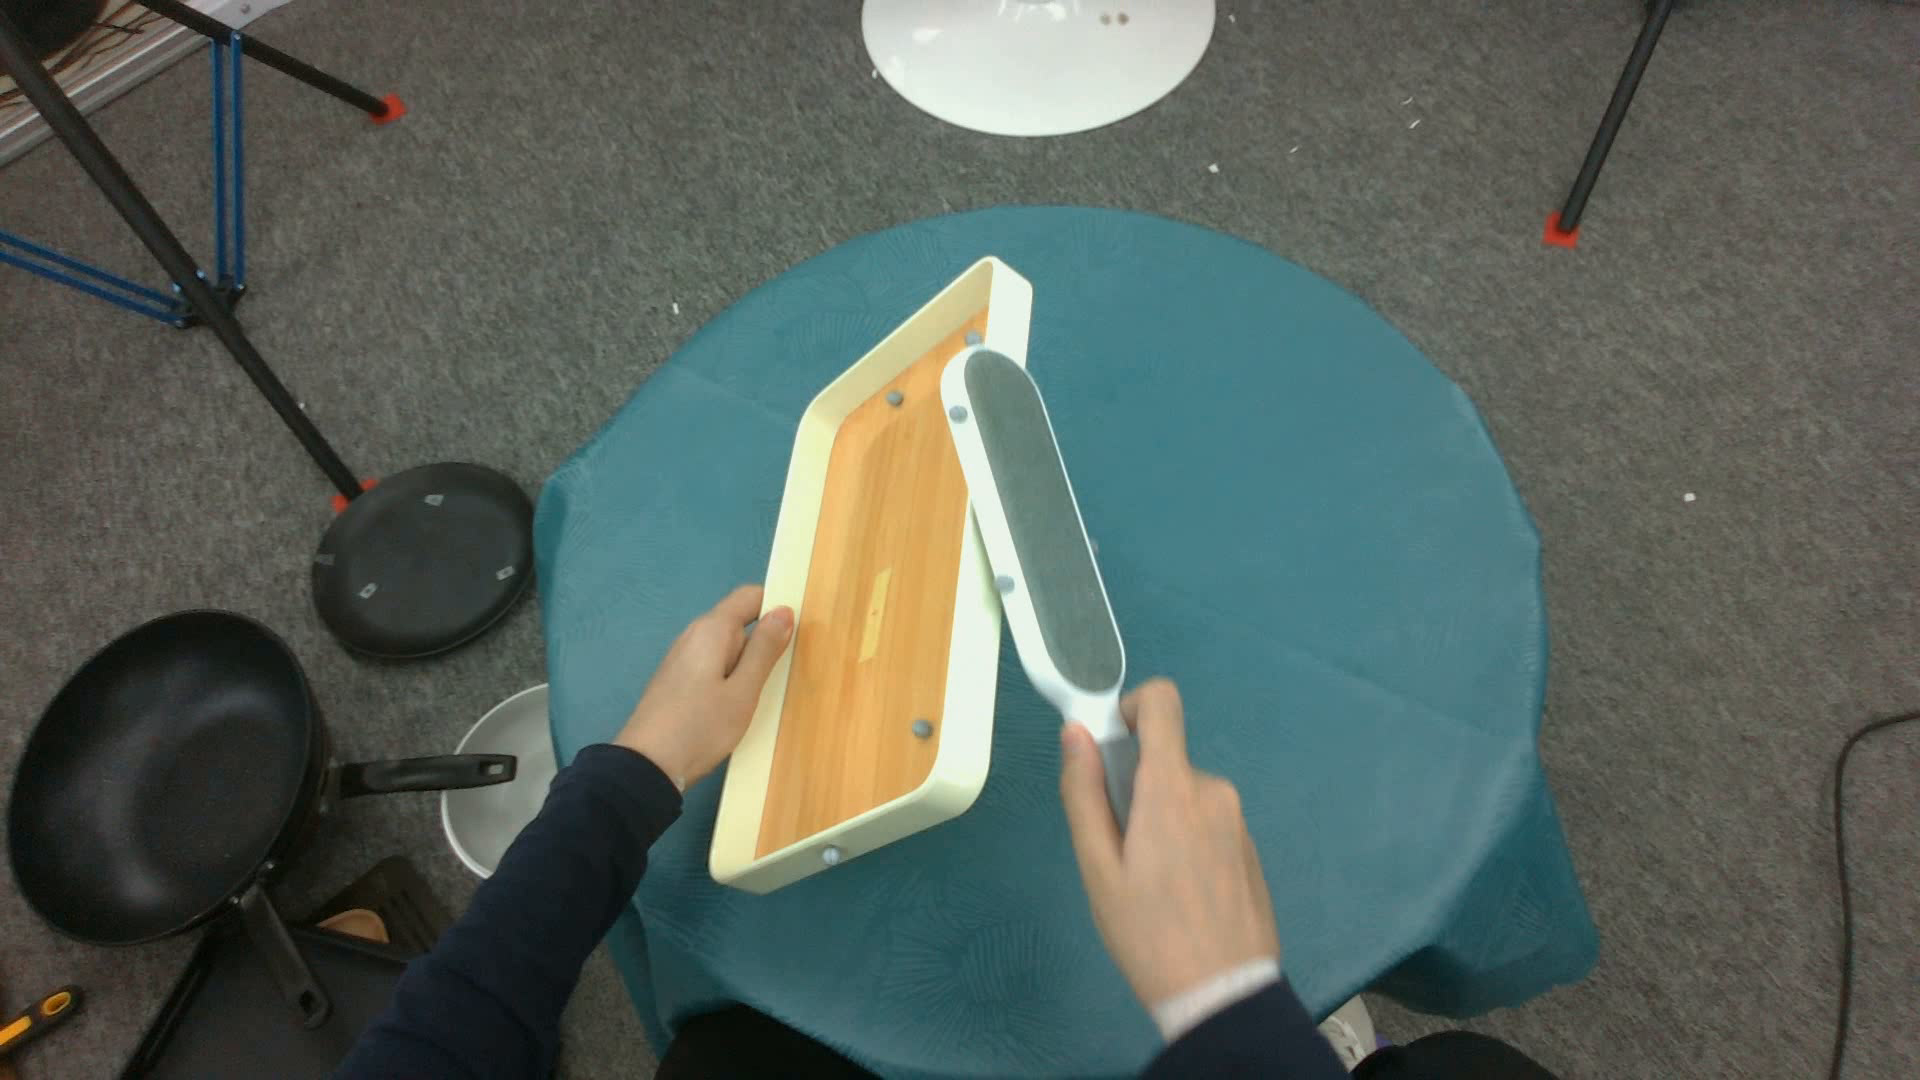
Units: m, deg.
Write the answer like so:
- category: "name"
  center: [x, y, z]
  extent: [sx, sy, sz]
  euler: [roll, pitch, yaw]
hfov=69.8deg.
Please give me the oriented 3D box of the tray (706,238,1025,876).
- category: "tray"
  center: [-0.045, 0.005, 0.690]
  extent: [0.027, 0.190, 0.301]
  euler: [27, 53, -30]

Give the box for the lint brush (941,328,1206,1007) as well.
- category: "lint brush"
  center: [0.048, 0.045, 0.597]
  extent: [0.021, 0.060, 0.309]
  euler: [-28, 71, 36]
